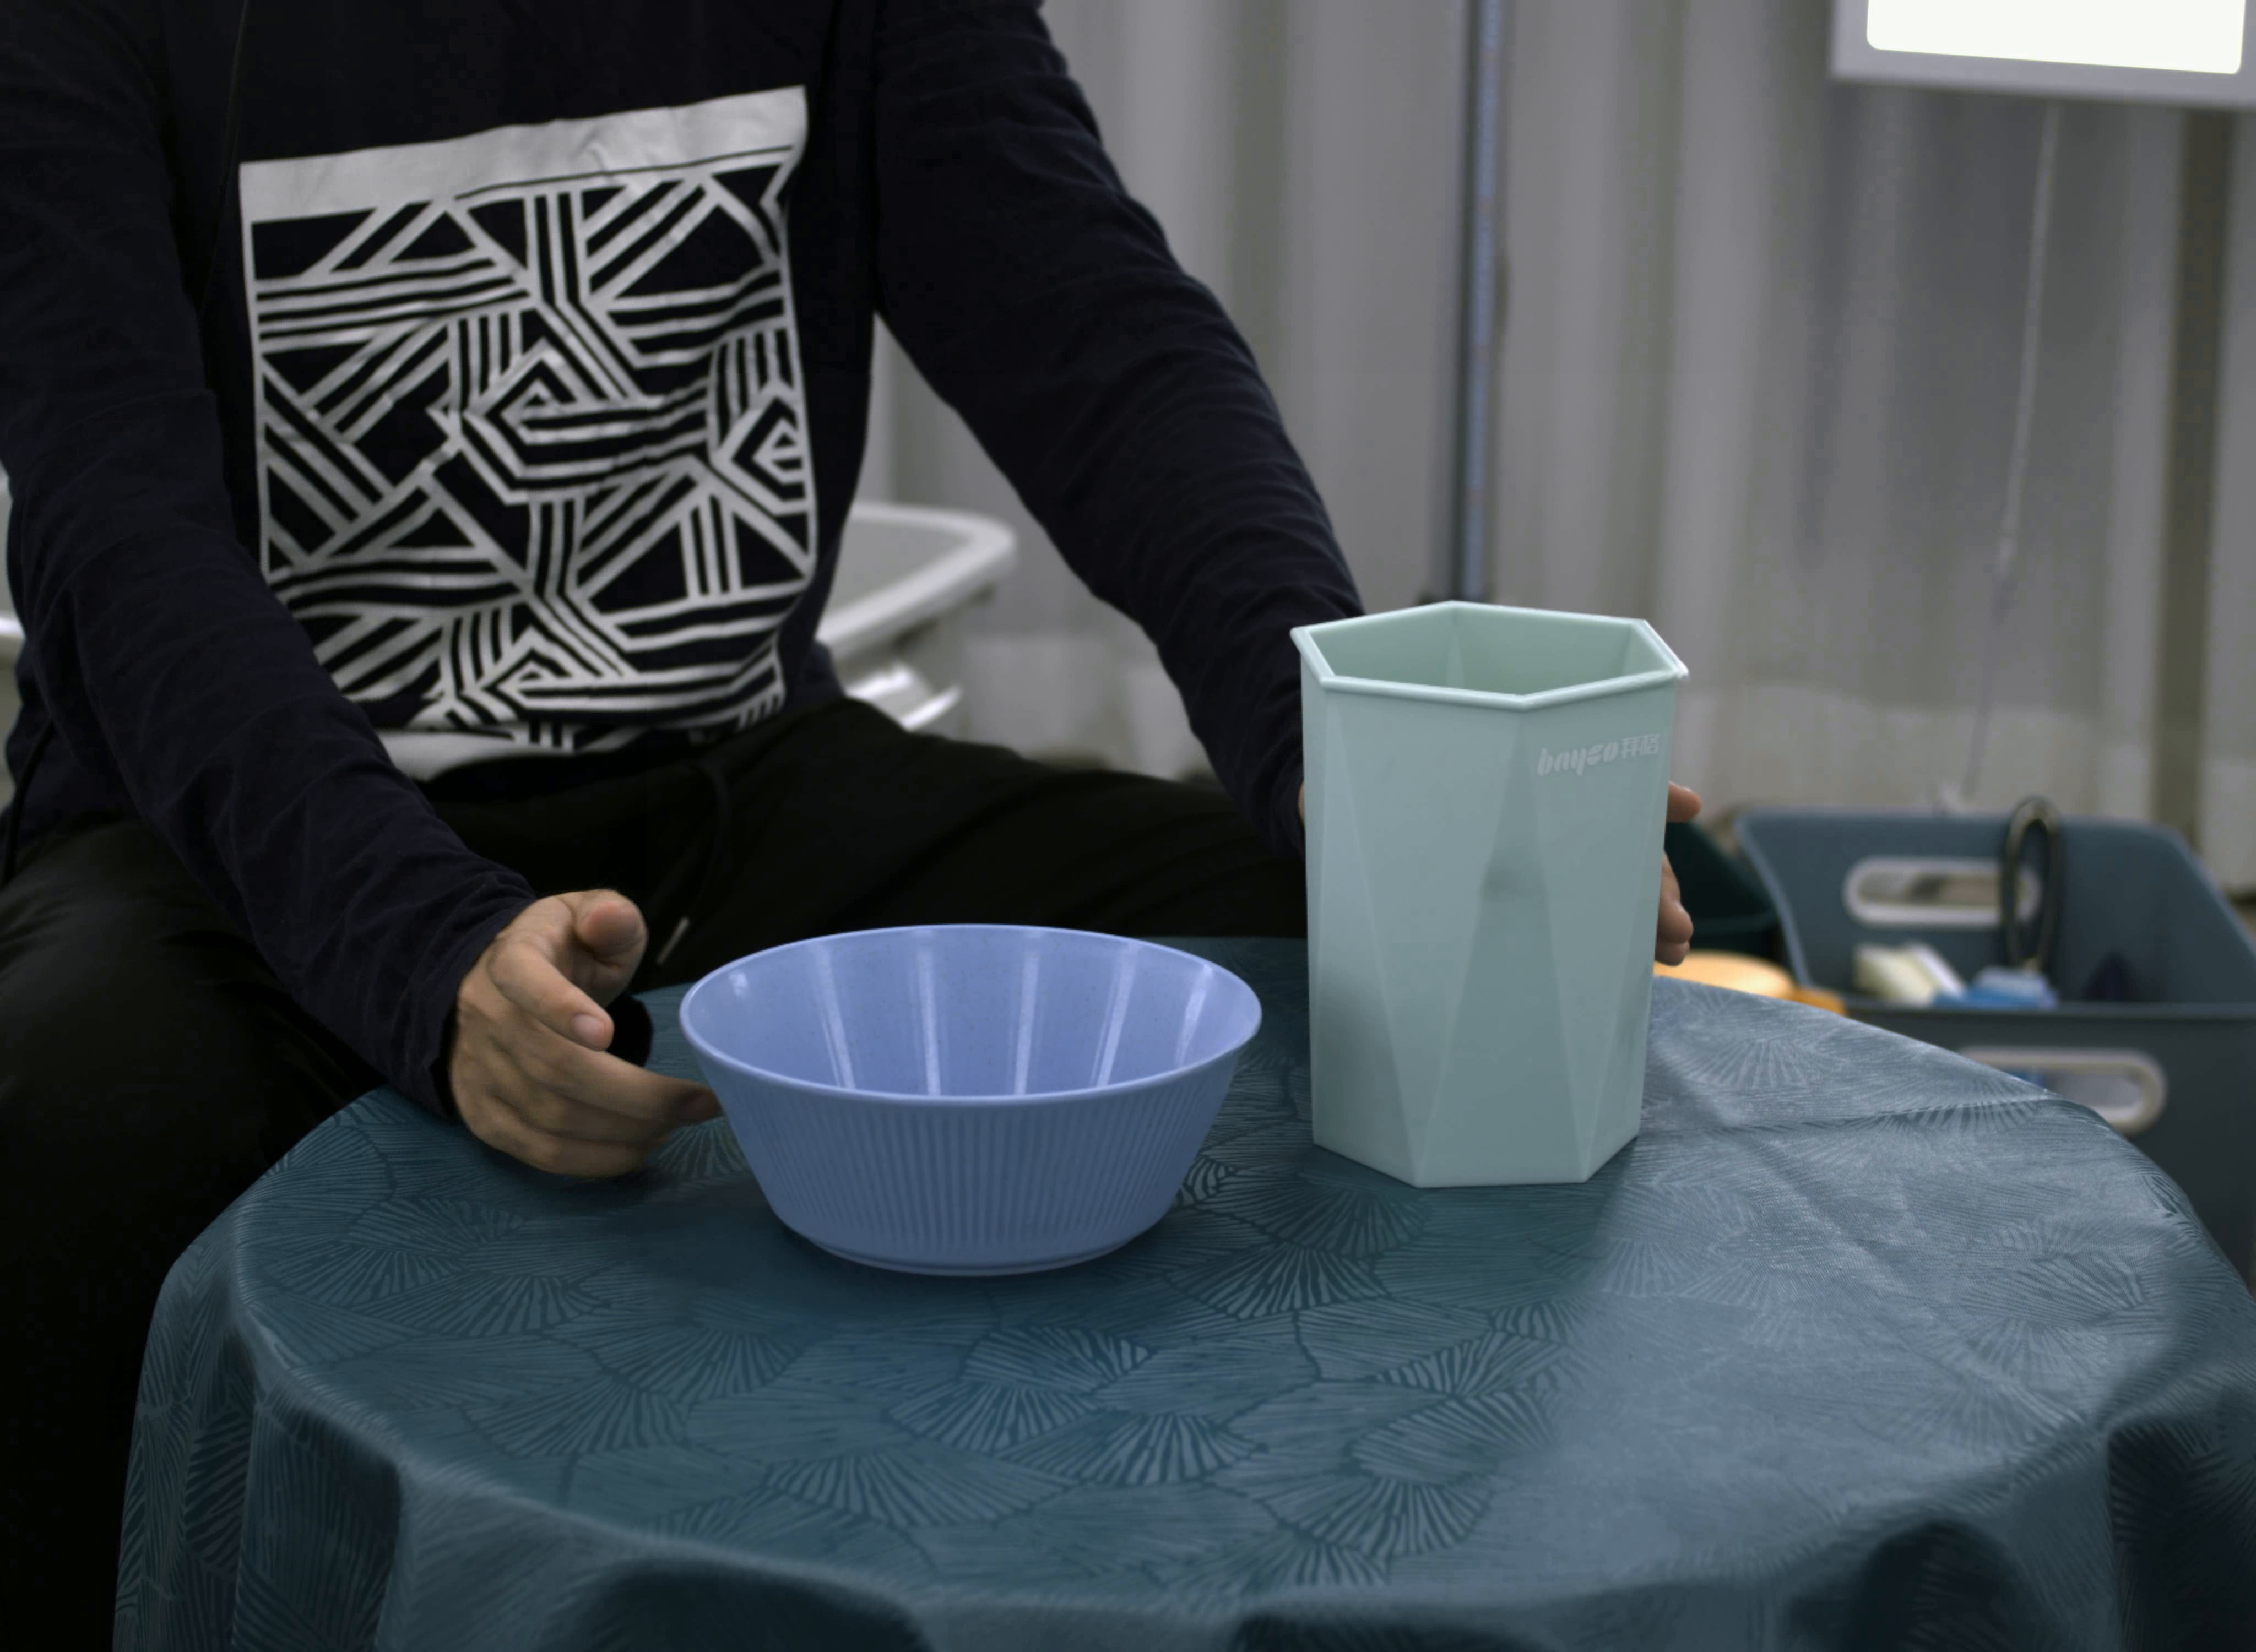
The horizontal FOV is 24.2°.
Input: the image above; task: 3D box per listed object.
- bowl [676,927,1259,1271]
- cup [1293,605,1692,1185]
[{"bbox_3d":[-0.048,0.085,1.592,0.175,0.071,0.175,1,15,0],"label":"bowl"},{"bbox_3d":[0.112,0.022,1.652,0.132,0.164,0.113,-11,17,-38],"label":"cup"}]
